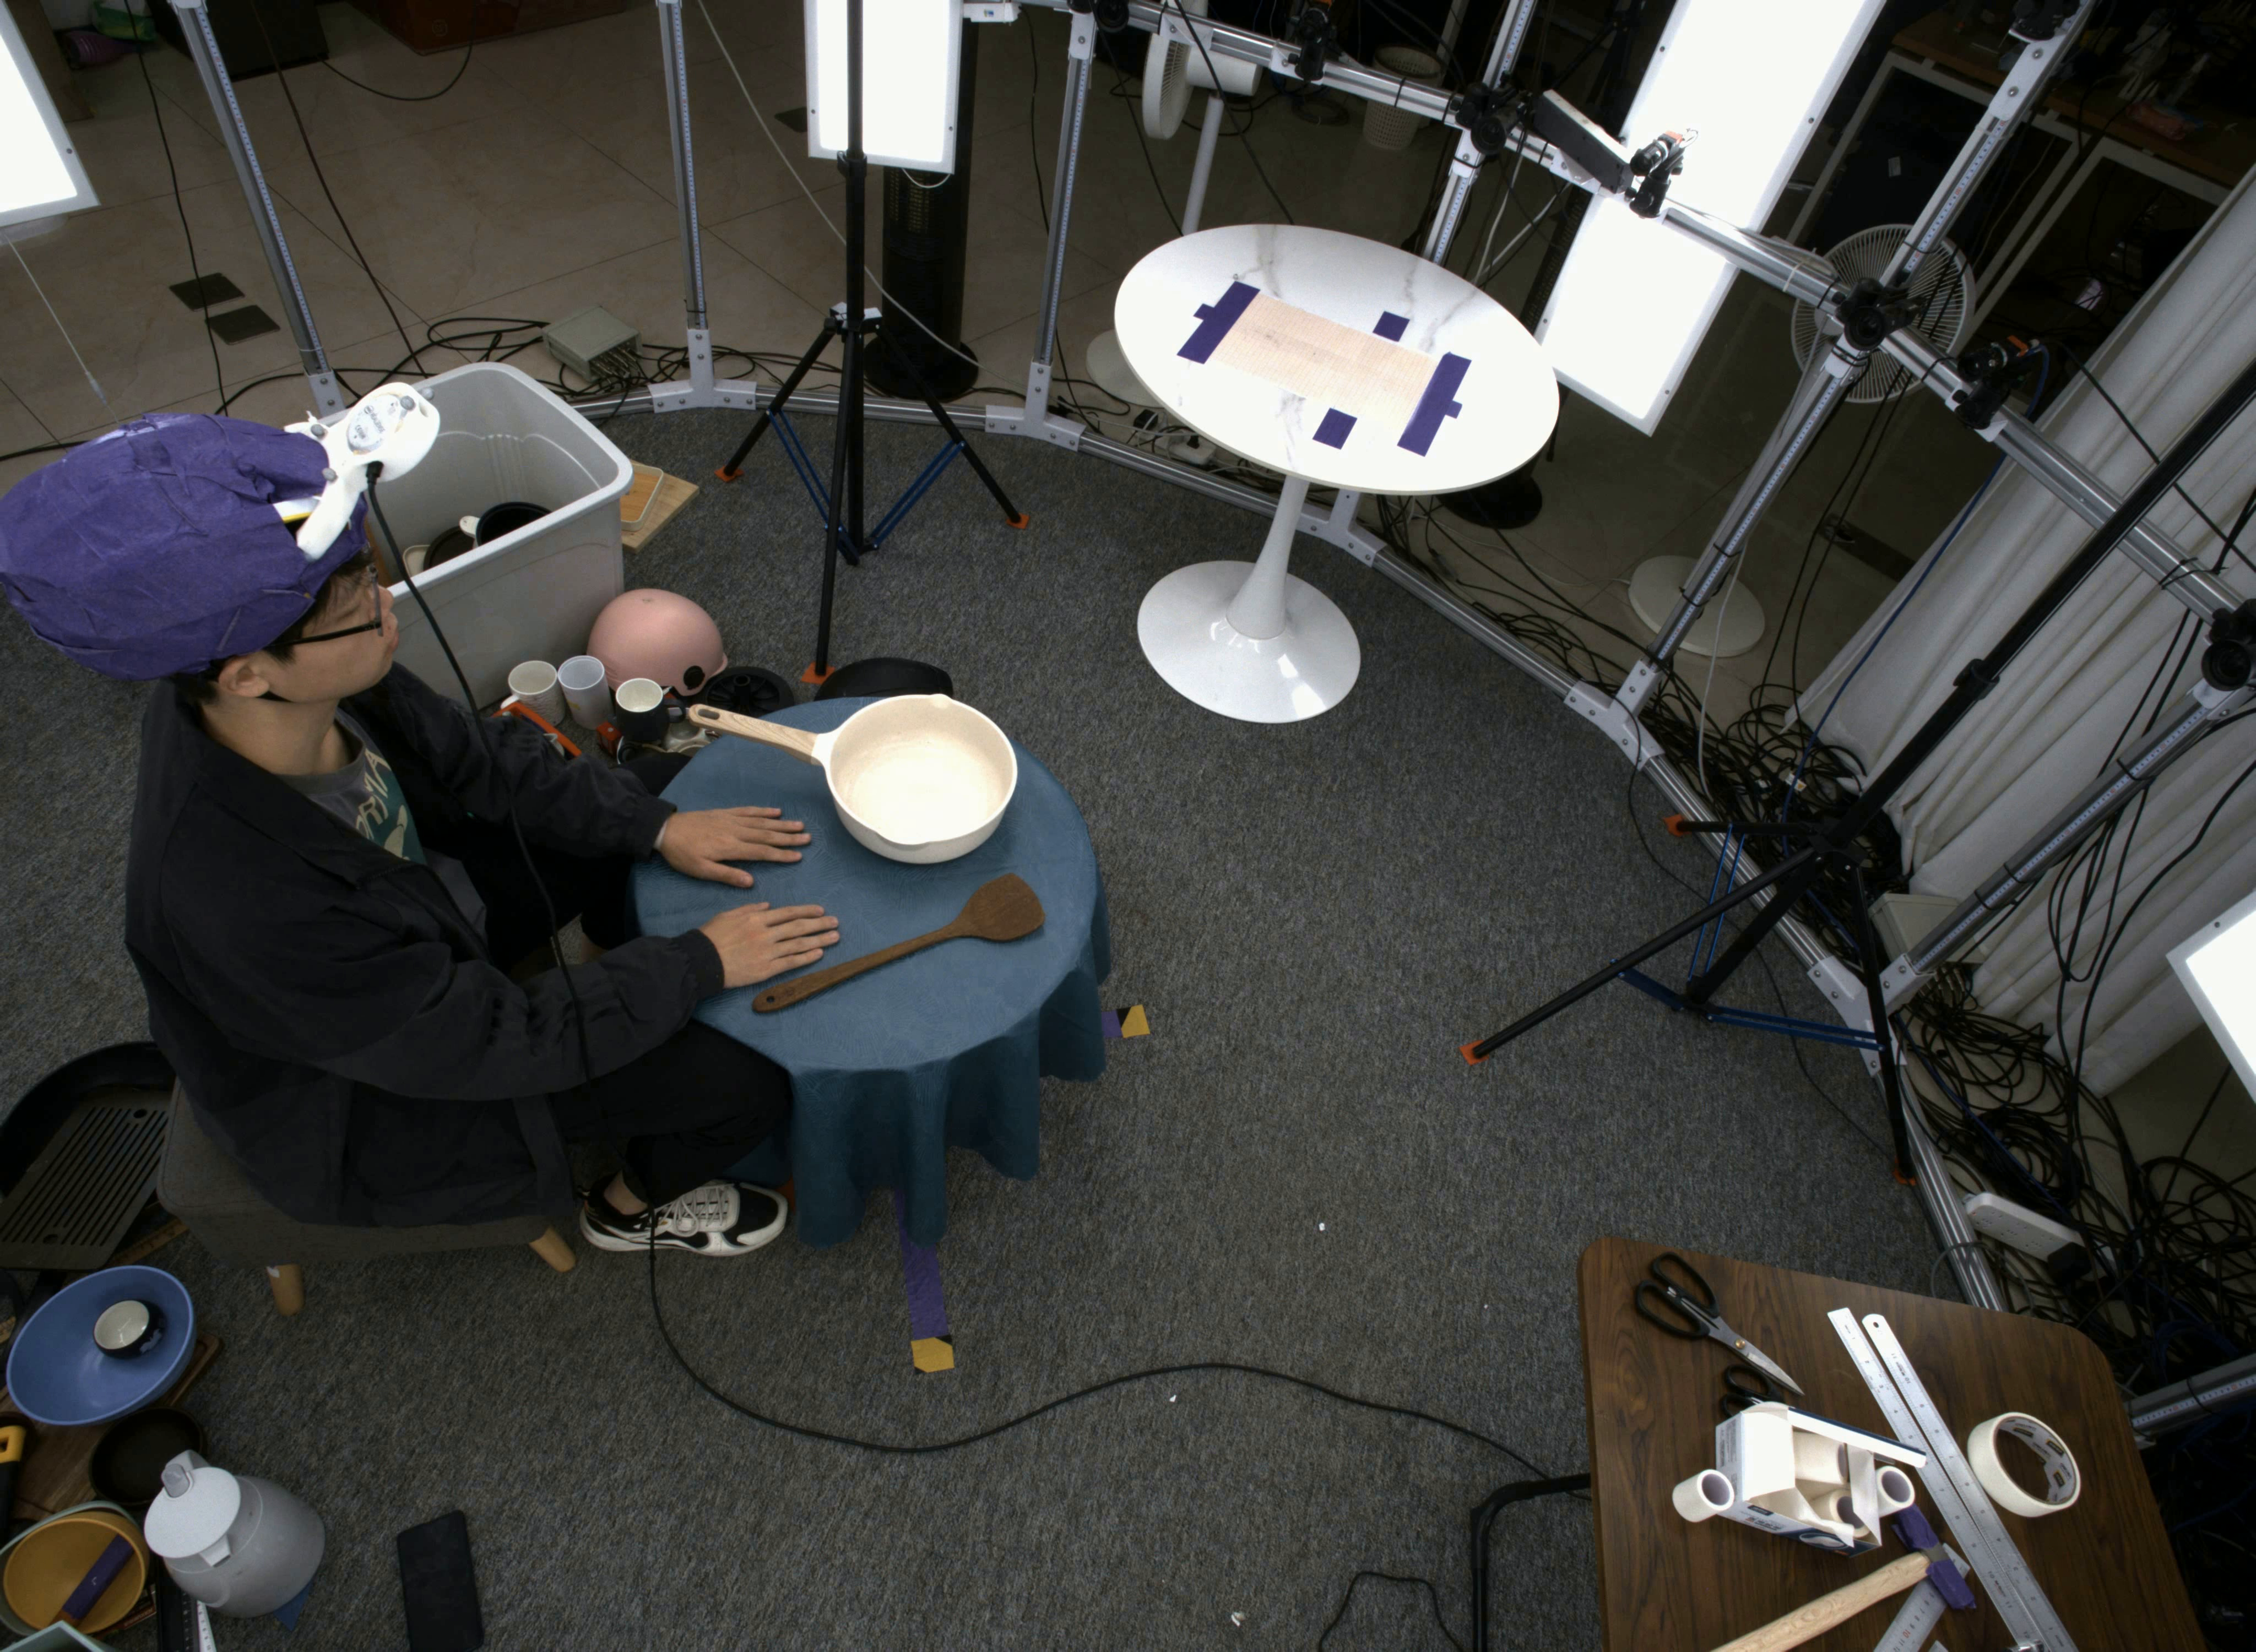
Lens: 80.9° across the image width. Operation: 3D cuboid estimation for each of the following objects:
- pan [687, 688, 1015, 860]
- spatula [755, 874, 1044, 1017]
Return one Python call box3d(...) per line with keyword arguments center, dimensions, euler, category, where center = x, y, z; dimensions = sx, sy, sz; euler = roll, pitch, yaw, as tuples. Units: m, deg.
box3d(center=(-0.368, -0.084, 1.735), dimensions=(0.433, 0.104, 0.259), euler=(11, 54, -6), category="pan")
box3d(center=(-0.285, 0.156, 1.635), dimensions=(0.388, 0.016, 0.093), euler=(-21, 61, -26), category="spatula")
